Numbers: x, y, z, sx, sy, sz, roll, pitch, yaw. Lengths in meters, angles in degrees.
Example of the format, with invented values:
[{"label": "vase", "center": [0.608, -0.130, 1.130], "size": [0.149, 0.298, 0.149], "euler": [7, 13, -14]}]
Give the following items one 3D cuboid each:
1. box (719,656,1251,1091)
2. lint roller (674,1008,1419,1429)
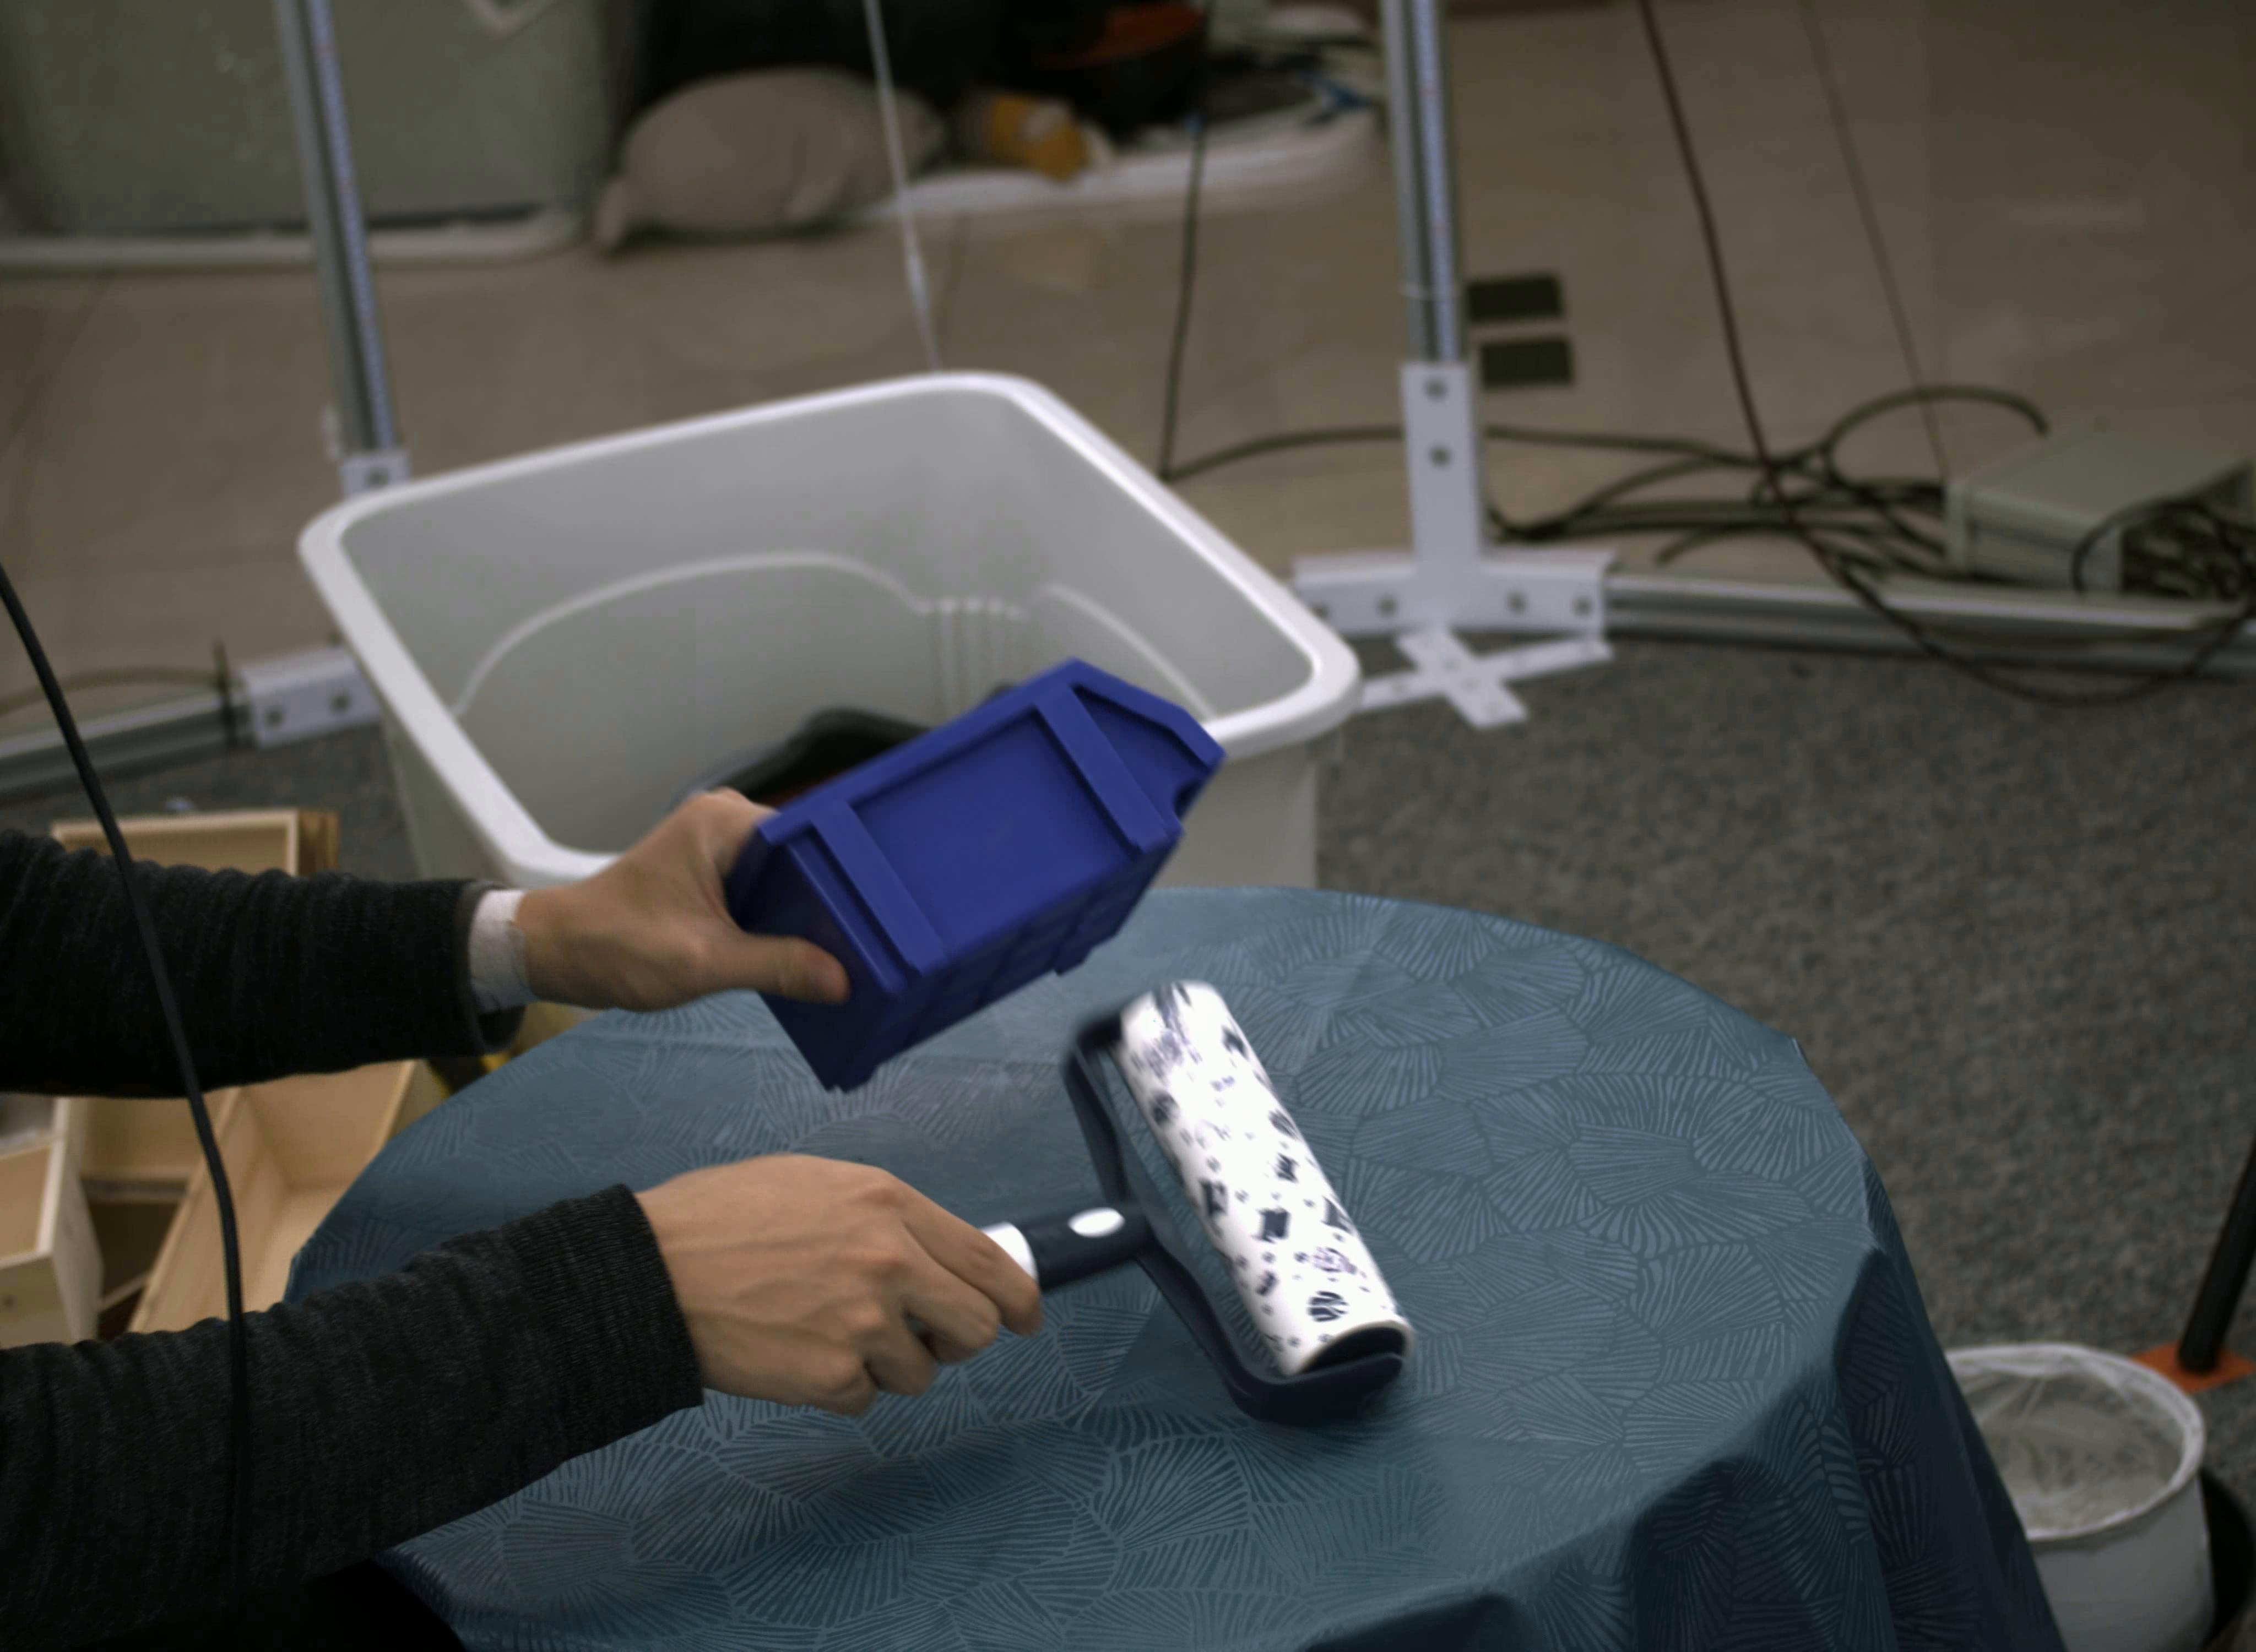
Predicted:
[{"label": "box", "center": [-0.051, 0.017, 2.159], "size": [0.178, 0.126, 0.081], "euler": [-32, 80, -26]}, {"label": "lint roller", "center": [-0.040, 0.158, 1.982], "size": [0.246, 0.051, 0.173], "euler": [-14, 50, -21]}]
